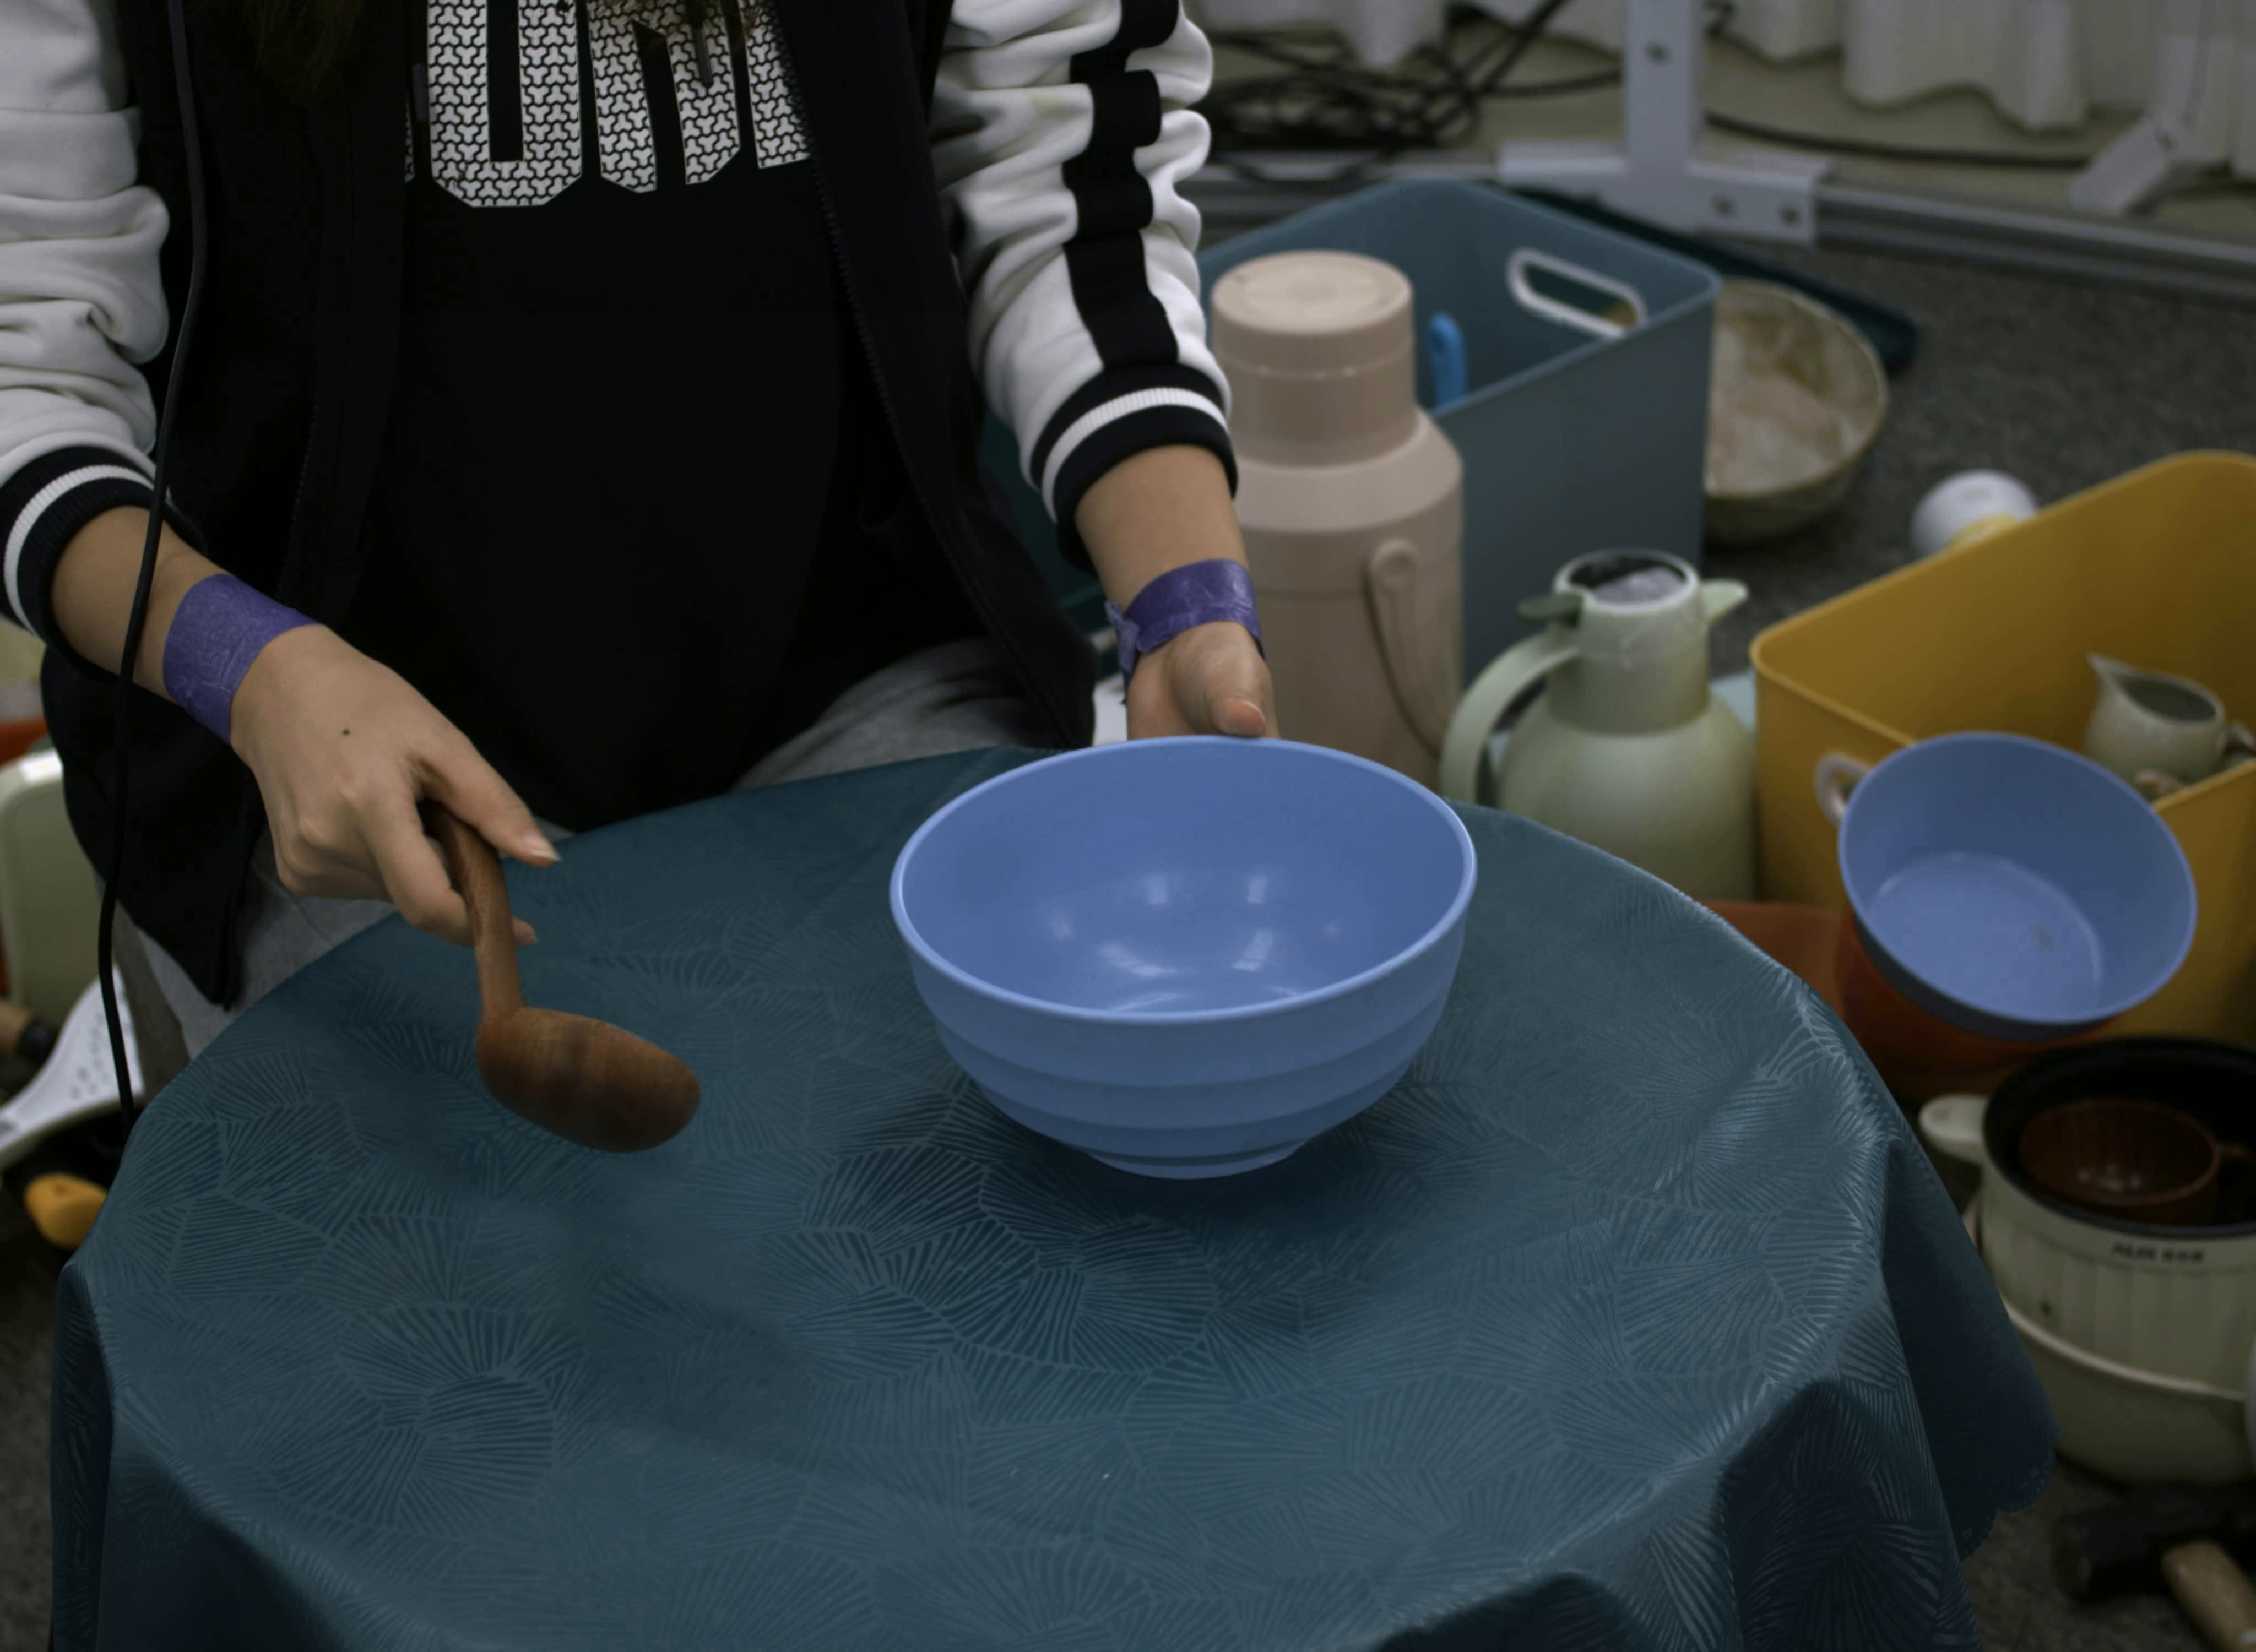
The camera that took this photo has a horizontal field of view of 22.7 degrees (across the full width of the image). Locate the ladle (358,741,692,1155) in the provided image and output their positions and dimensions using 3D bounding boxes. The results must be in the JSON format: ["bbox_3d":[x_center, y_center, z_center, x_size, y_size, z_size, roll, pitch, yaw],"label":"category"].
[{"bbox_3d":[-0.205,0.027,1.855,0.064,0.076,0.263,-45,35,12],"label":"ladle"}]

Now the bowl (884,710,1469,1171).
[{"bbox_3d":[0.021,0.051,1.894,0.195,0.094,0.200,-5,32,4],"label":"bowl"}]
